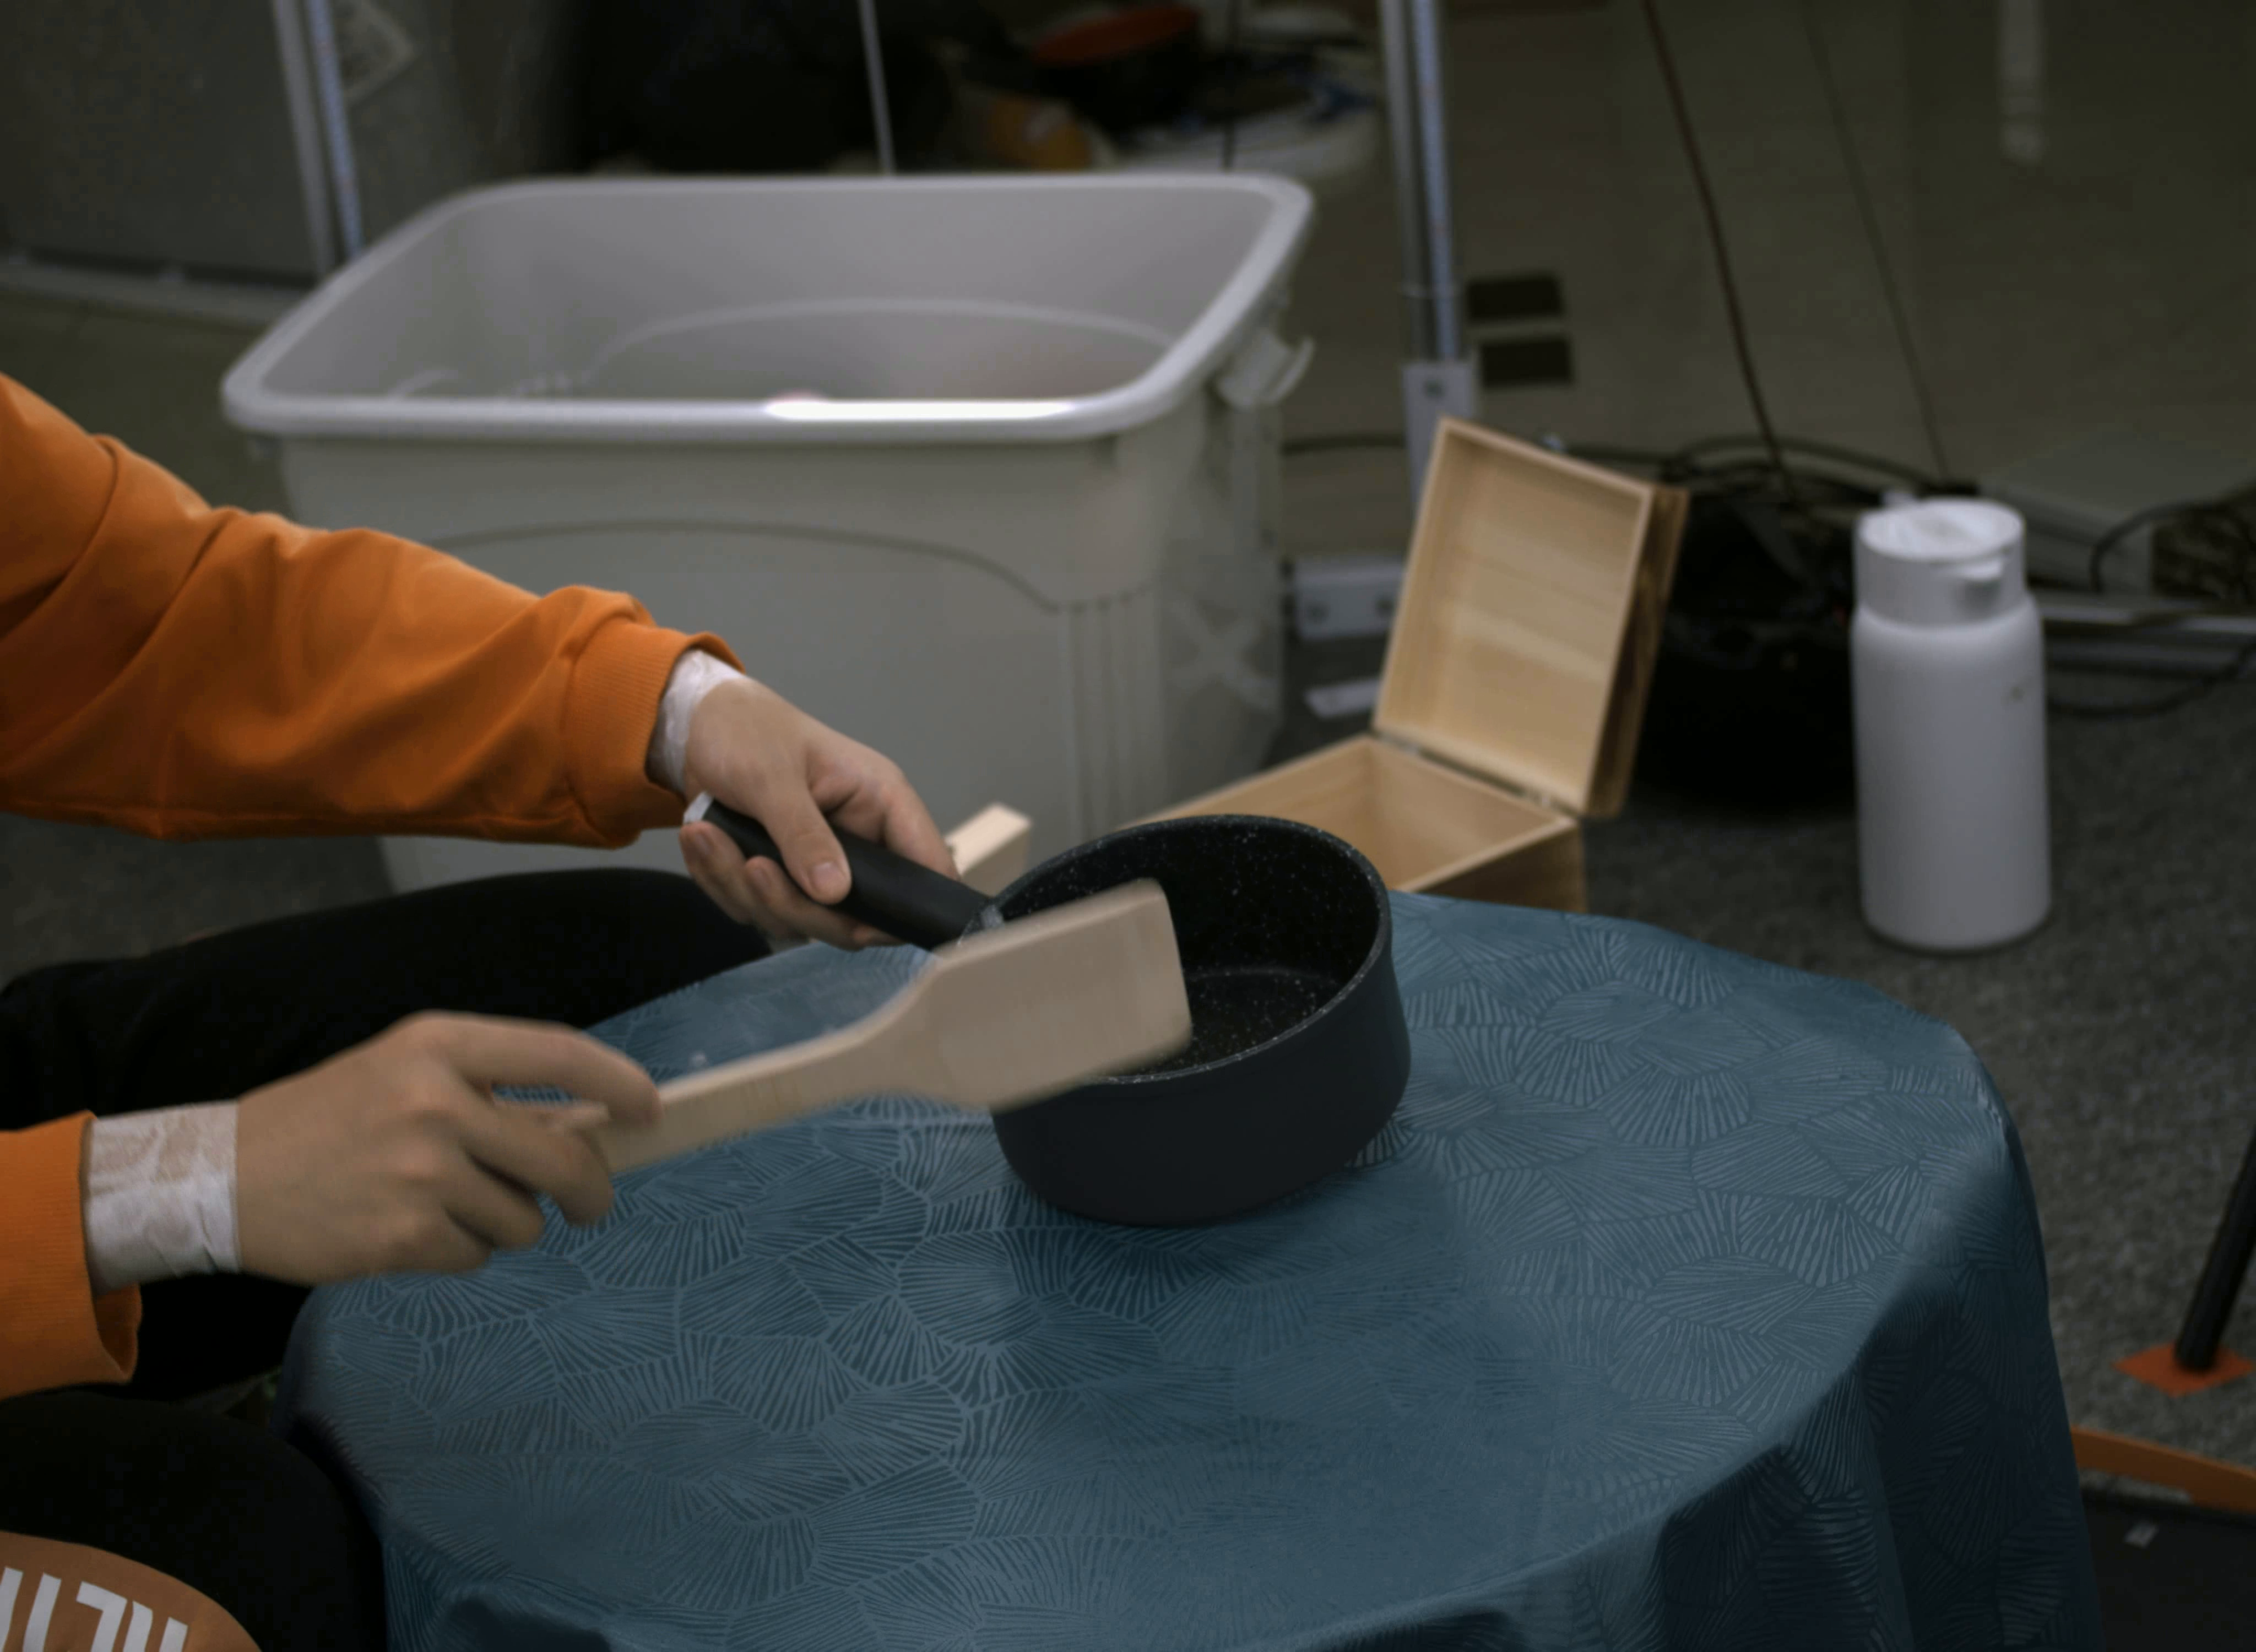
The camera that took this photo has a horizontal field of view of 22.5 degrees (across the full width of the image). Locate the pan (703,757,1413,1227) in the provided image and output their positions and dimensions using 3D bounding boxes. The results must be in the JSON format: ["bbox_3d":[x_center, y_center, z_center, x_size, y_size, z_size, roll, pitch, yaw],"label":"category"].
[{"bbox_3d":[-0.037,0.054,2.205,0.326,0.088,0.170,19,45,38],"label":"pan"}]

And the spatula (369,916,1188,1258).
[{"bbox_3d":[-0.121,0.097,1.956,0.292,0.073,0.010,-17,43,-6],"label":"spatula"}]
